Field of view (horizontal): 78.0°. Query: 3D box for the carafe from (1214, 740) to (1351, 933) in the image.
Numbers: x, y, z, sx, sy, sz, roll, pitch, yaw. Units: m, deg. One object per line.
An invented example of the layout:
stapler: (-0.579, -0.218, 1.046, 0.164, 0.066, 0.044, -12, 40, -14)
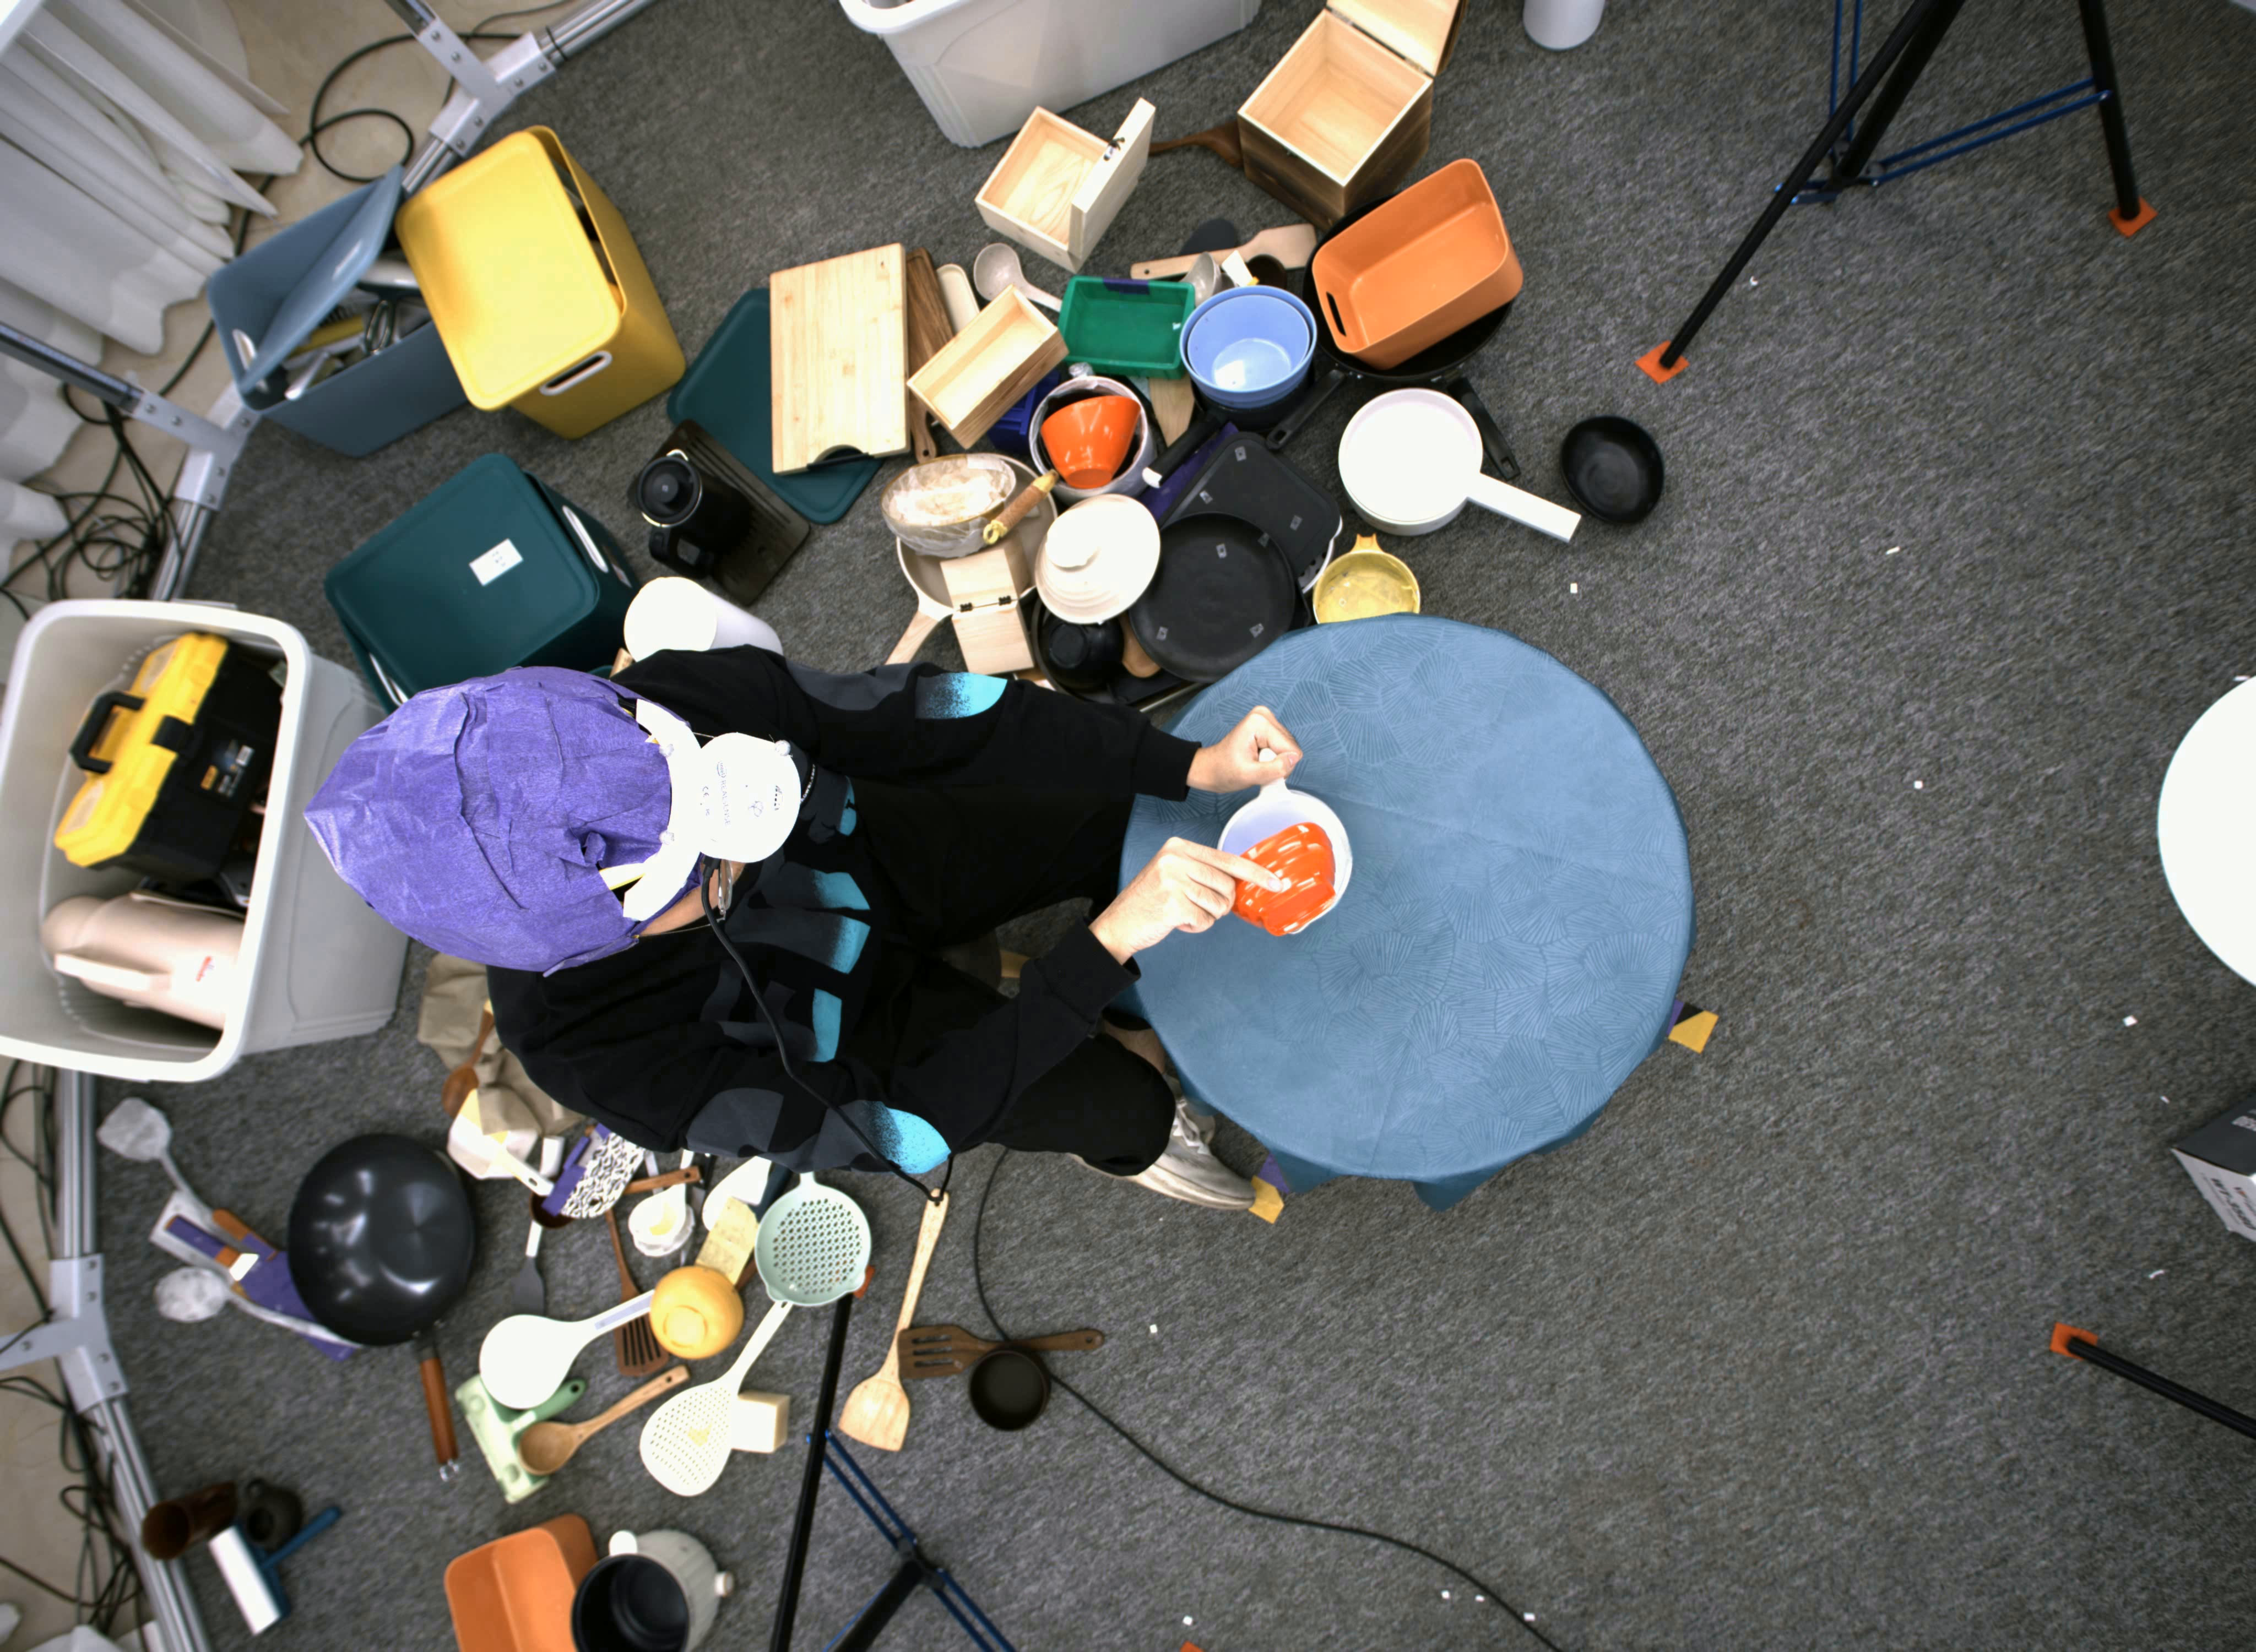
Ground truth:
carafe: (0.149, 0.006, 1.375, 0.133, 0.182, 0.191, -10, 90, 7)

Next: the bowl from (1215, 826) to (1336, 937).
bowl: (0.136, 0.054, 1.192, 0.119, 0.120, 0.050, -30, 65, 6)
